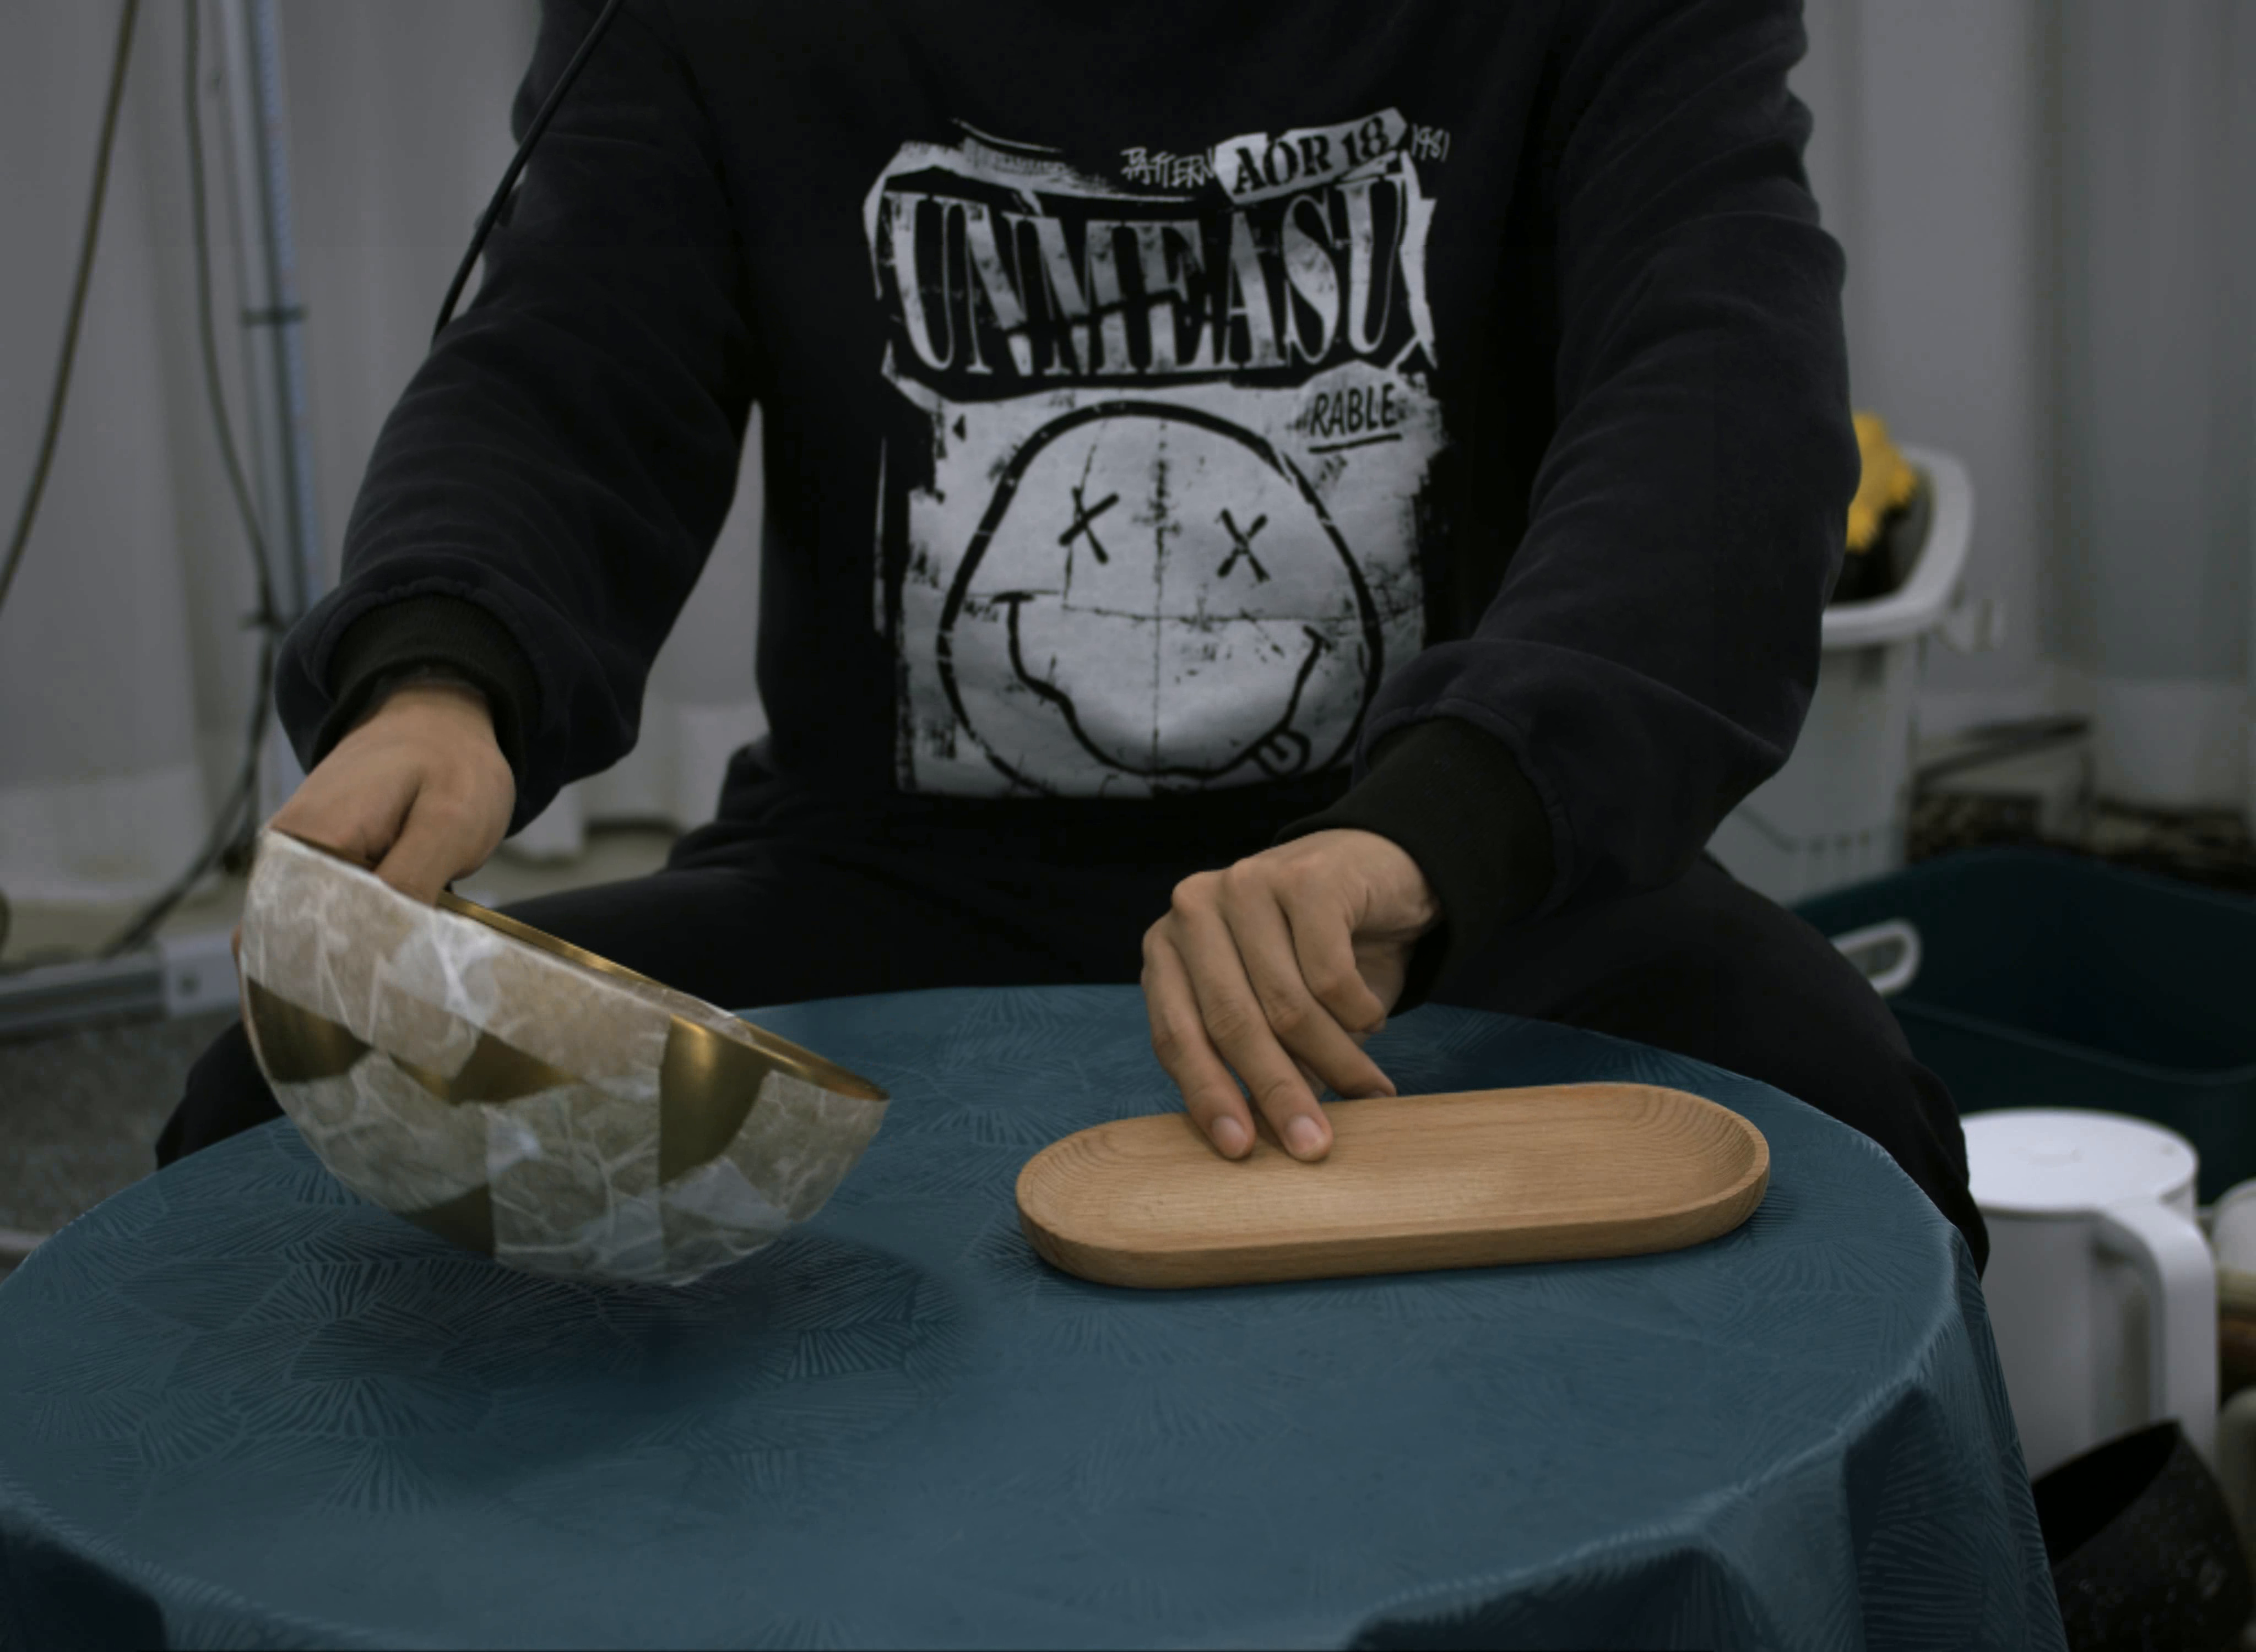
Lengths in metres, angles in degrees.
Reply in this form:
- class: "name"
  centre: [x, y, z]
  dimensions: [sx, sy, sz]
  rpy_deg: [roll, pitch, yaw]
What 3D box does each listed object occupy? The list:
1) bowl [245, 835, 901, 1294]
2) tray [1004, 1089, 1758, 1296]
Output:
- class: "bowl"
  centre: [-0.173, 0.084, 1.624]
  dimensions: [0.214, 0.095, 0.214]
  rpy_deg: [22, -2, 1]
- class: "tray"
  centre: [0.077, 0.112, 1.667]
  dimensions: [0.230, 0.020, 0.102]
  rpy_deg: [-6, 18, -4]
